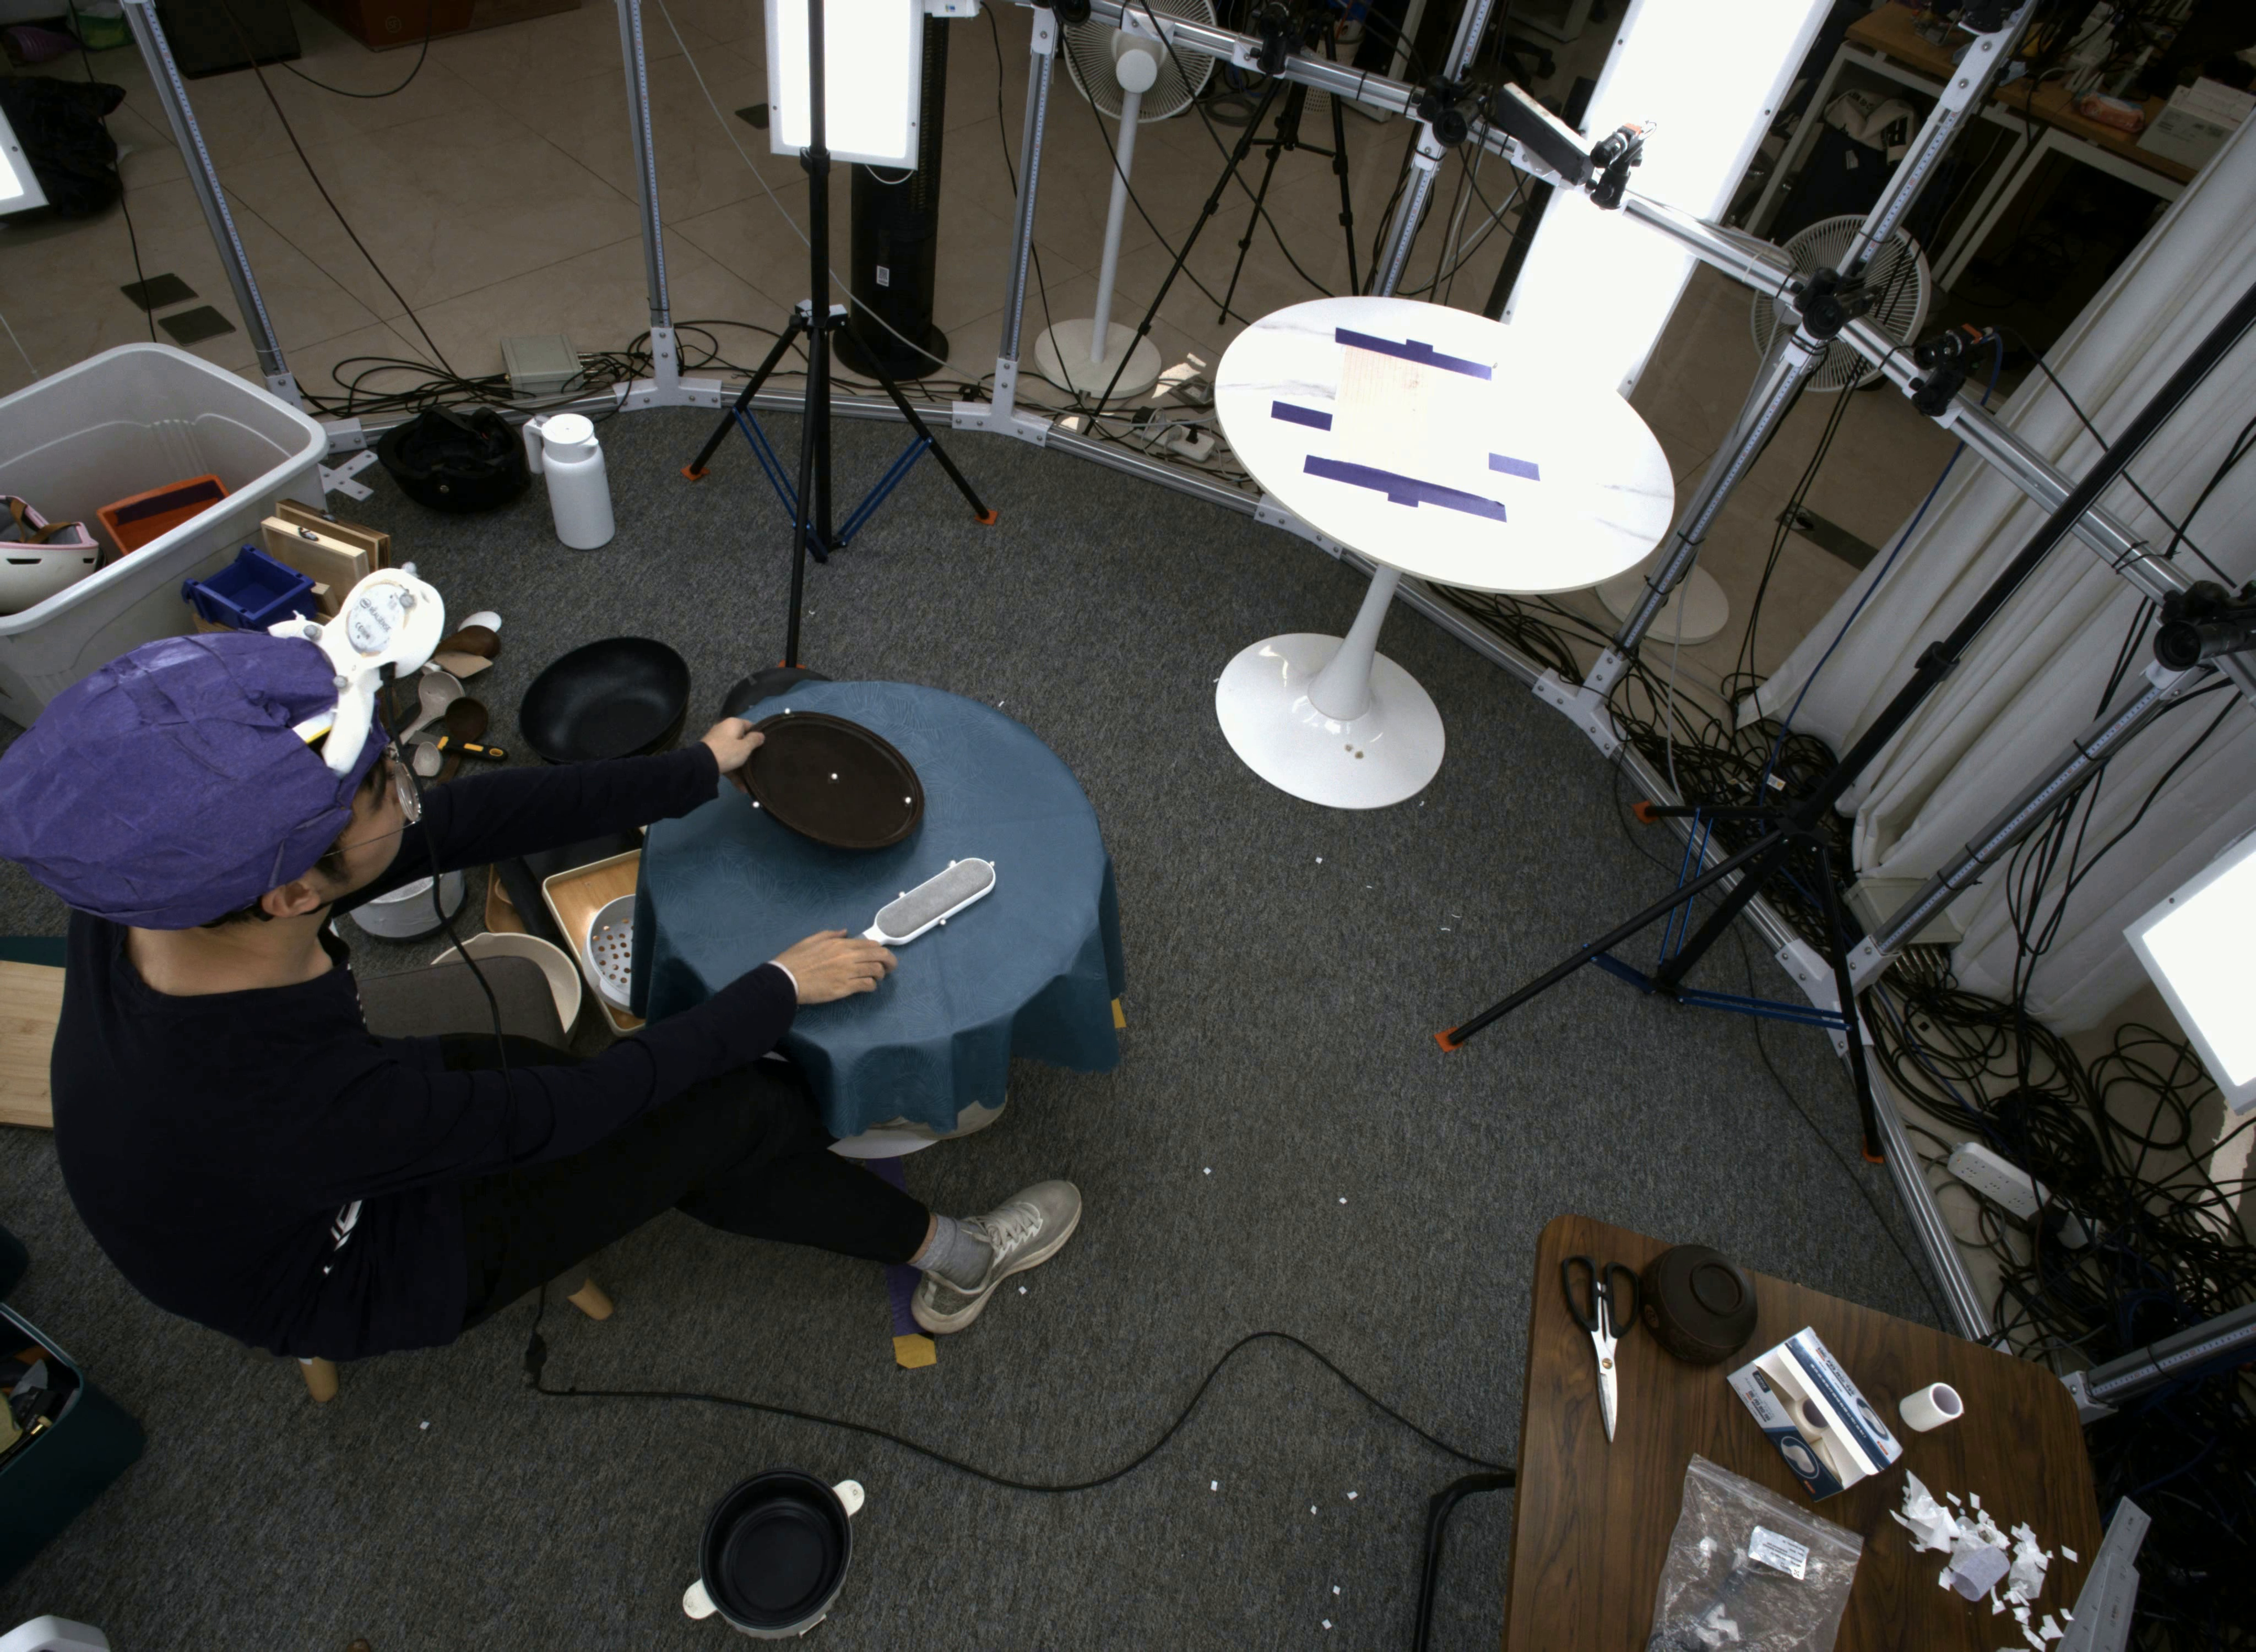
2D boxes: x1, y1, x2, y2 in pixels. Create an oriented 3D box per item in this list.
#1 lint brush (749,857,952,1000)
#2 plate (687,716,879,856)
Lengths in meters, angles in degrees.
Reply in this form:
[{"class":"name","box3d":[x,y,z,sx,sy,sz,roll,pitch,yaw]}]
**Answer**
[{"class":"lint brush","box3d":[-0.348,0.125,1.644,0.309,0.021,0.059,-35,74,-32]},{"class":"plate","box3d":[-0.453,-0.054,1.703,0.257,0.029,0.249,22,35,-15]}]
